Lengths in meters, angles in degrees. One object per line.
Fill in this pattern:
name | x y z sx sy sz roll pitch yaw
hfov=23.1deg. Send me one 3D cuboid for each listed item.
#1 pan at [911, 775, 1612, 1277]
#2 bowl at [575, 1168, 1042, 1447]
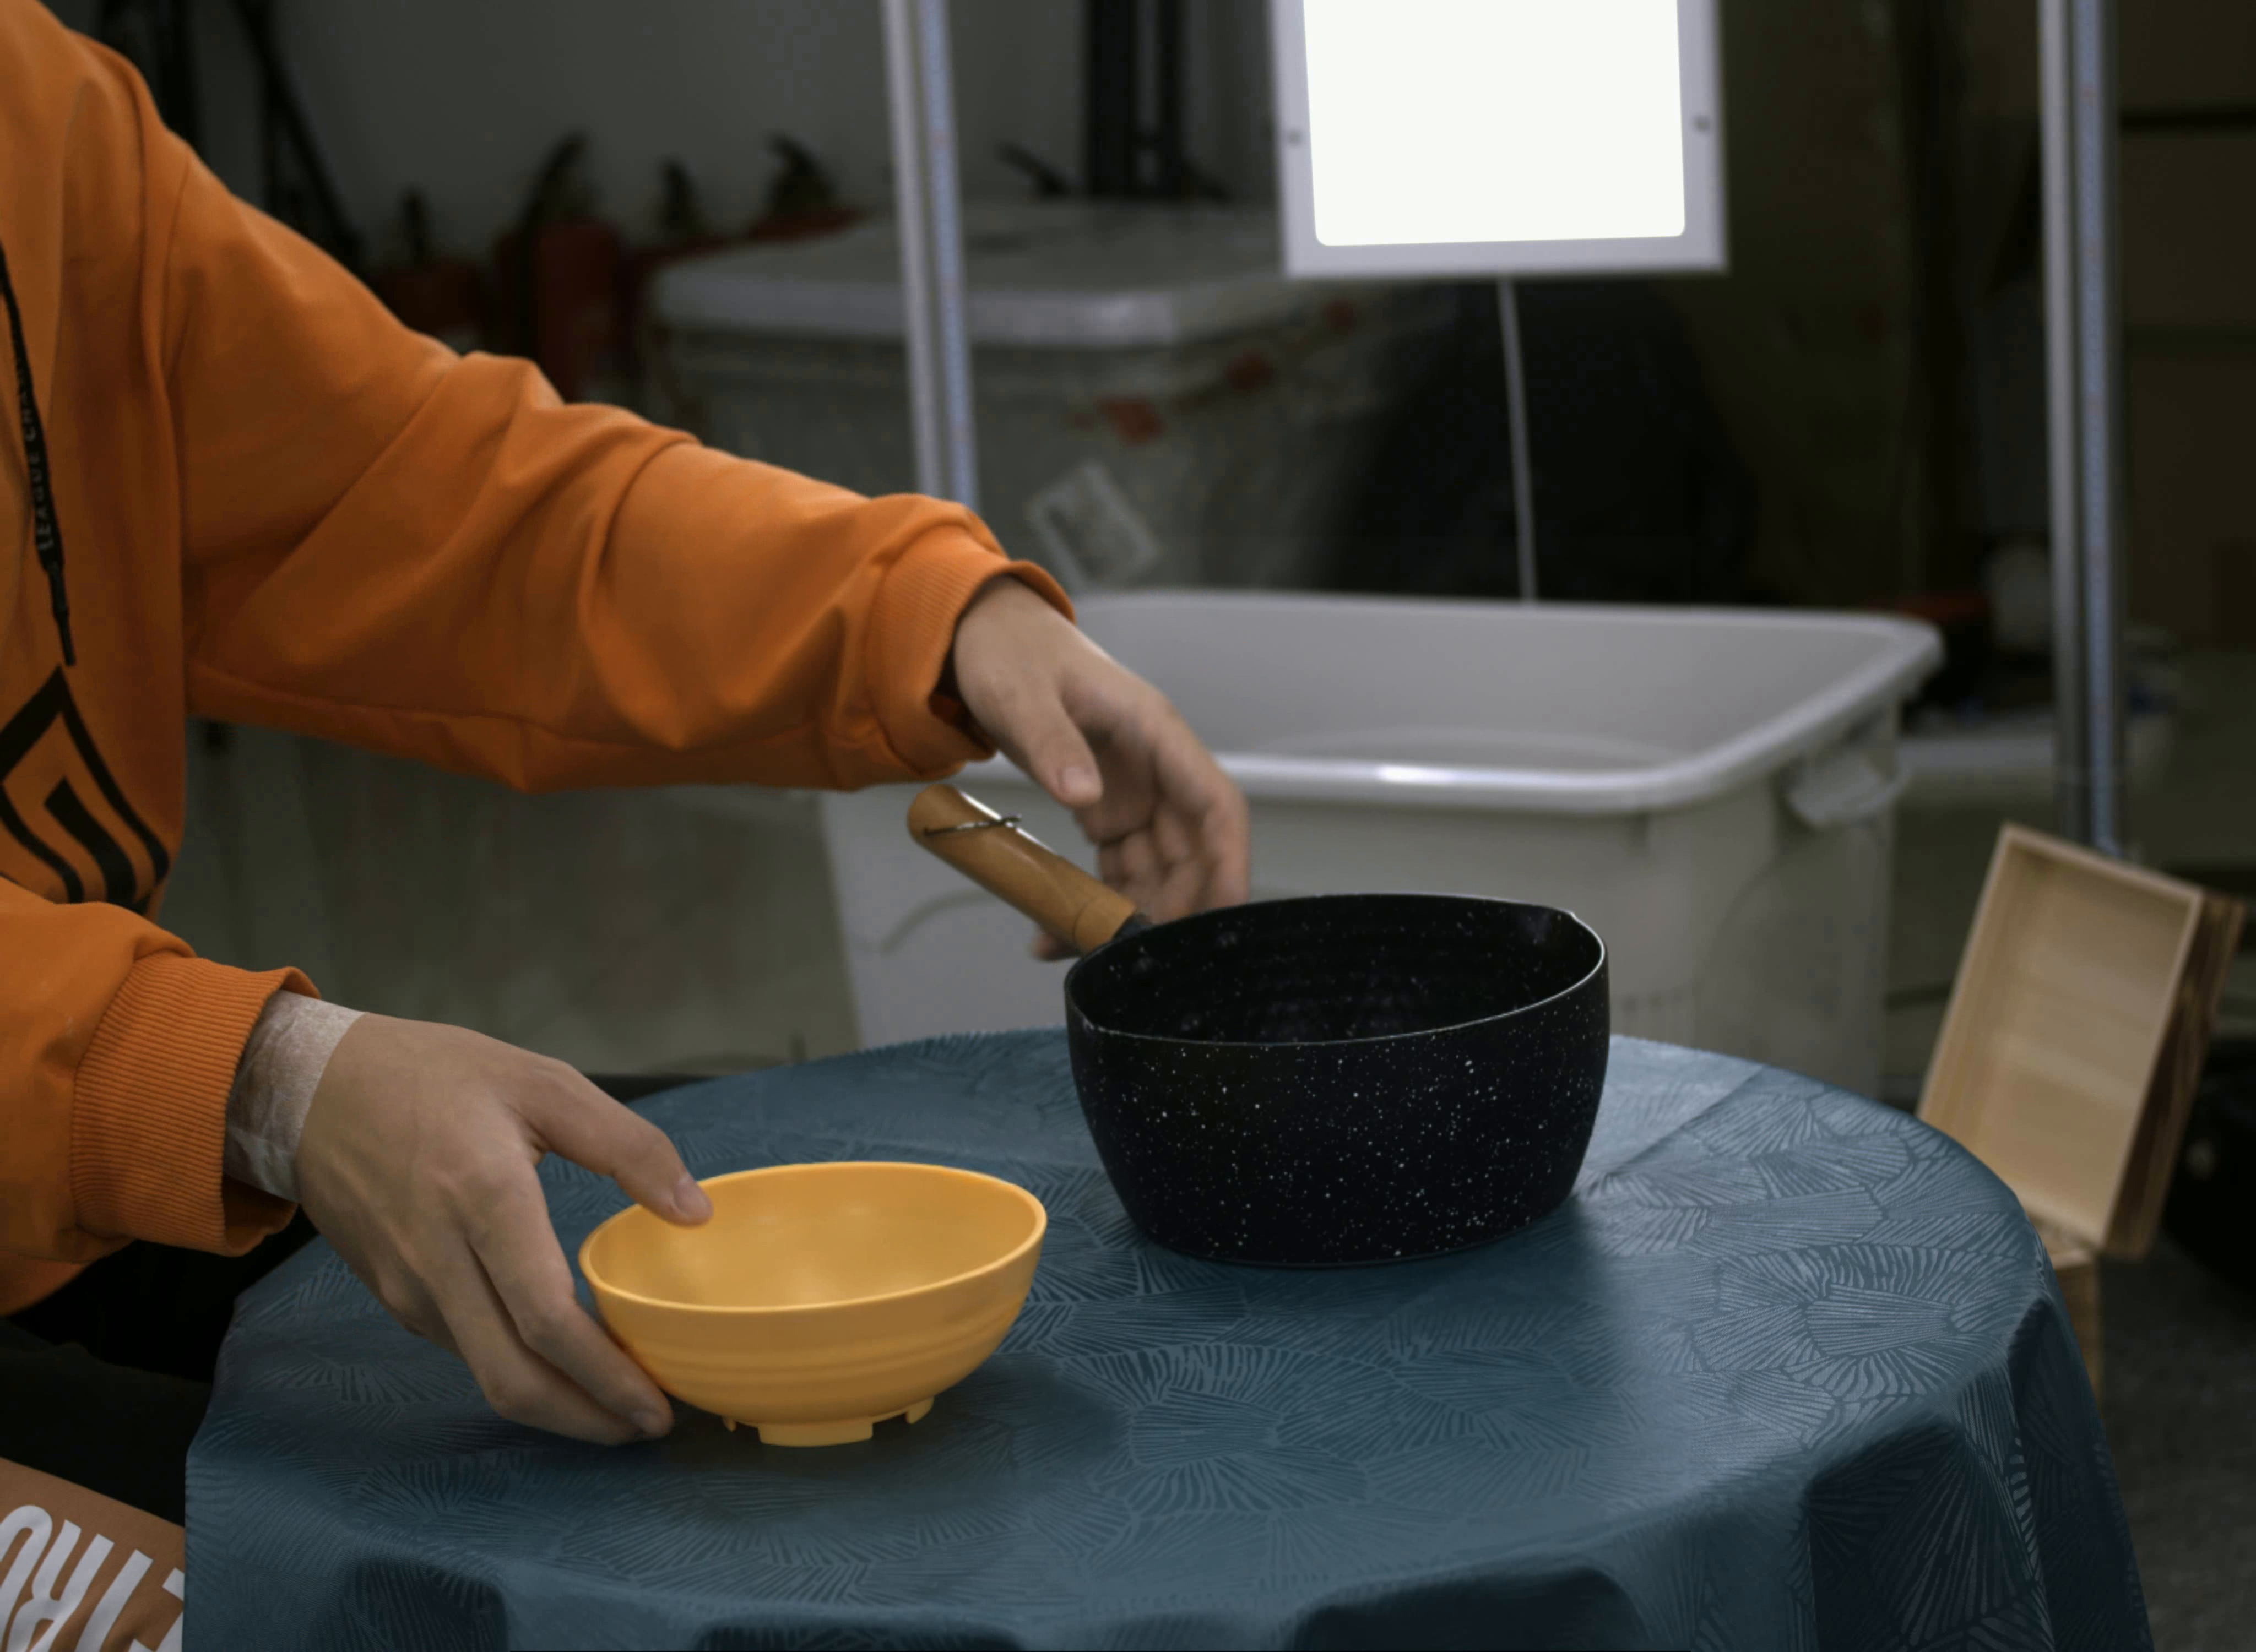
pan | 0.026 0.063 1.919 0.202 0.108 0.349 -16 19 -32
bowl | -0.097 0.153 1.702 0.145 0.060 0.145 -4 13 0
